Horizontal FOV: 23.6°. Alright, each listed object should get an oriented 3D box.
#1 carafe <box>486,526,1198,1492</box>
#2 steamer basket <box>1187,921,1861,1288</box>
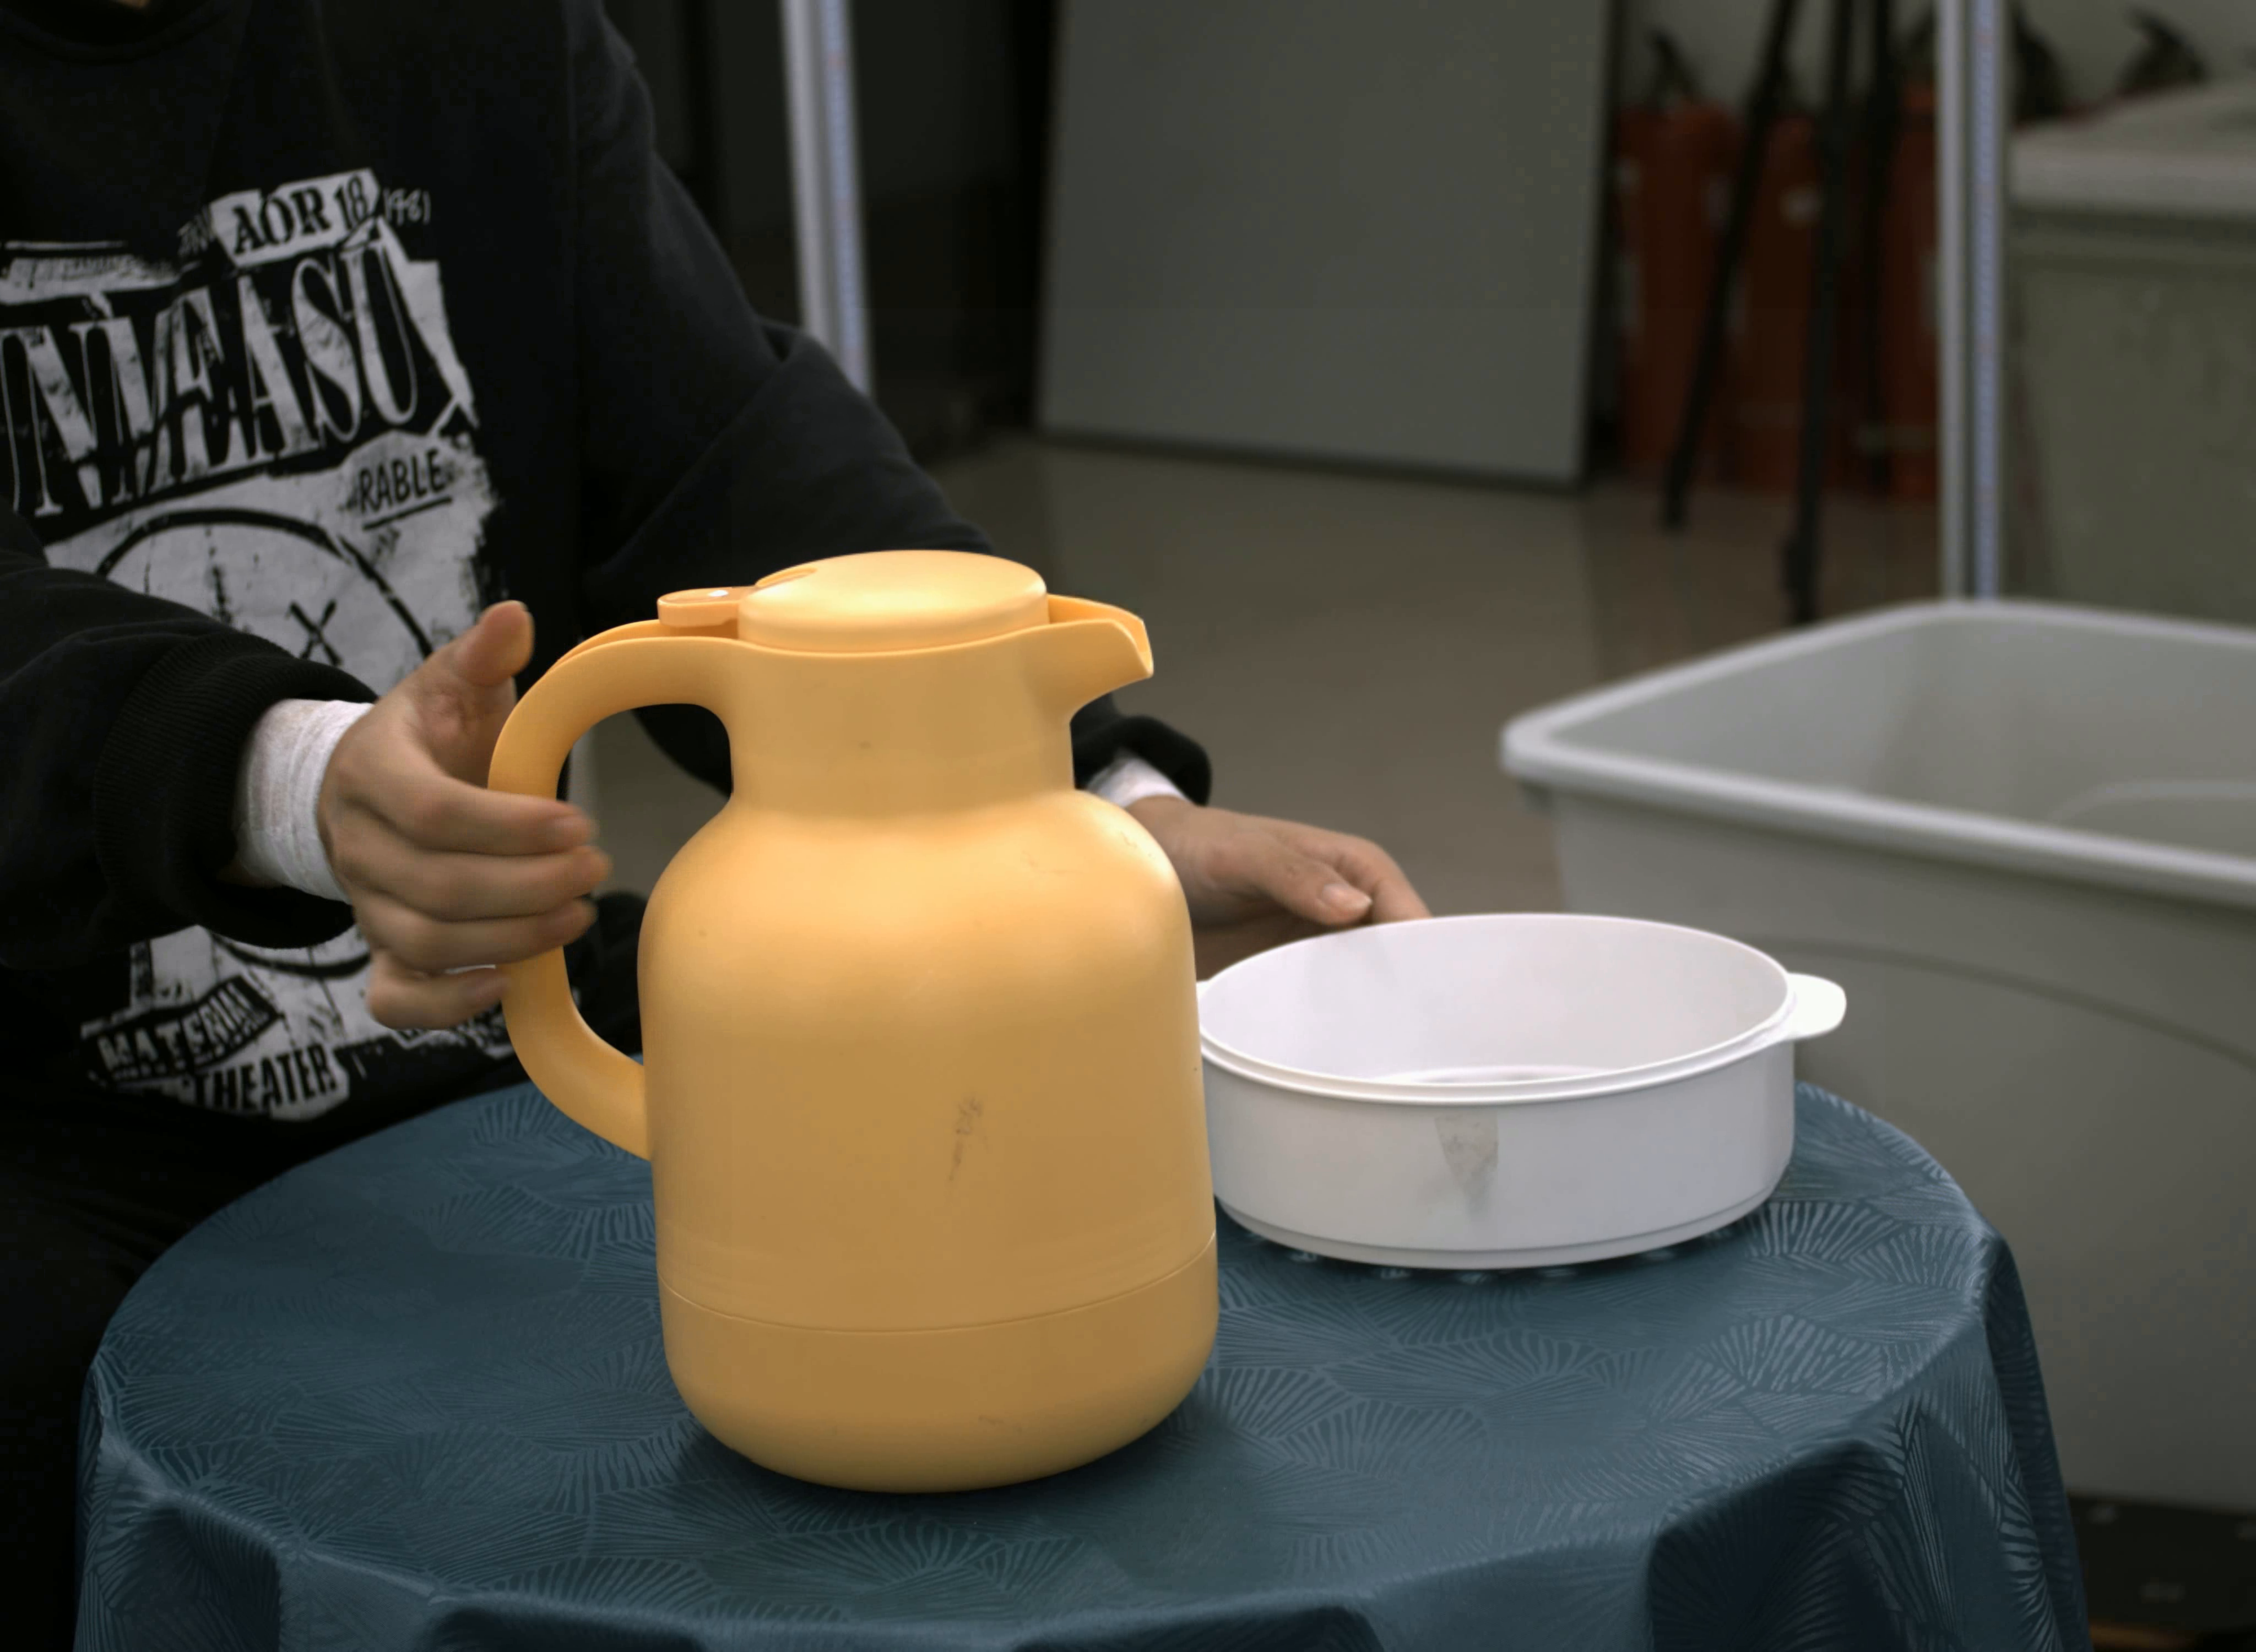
[{"bbox_3d":[-0.081,0.048,1.544,0.201,0.263,0.162,0,11,11],"label":"carafe"},{"bbox_3d":[0.123,0.089,1.740,0.229,0.070,0.201,-2,15,11],"label":"steamer basket"}]
